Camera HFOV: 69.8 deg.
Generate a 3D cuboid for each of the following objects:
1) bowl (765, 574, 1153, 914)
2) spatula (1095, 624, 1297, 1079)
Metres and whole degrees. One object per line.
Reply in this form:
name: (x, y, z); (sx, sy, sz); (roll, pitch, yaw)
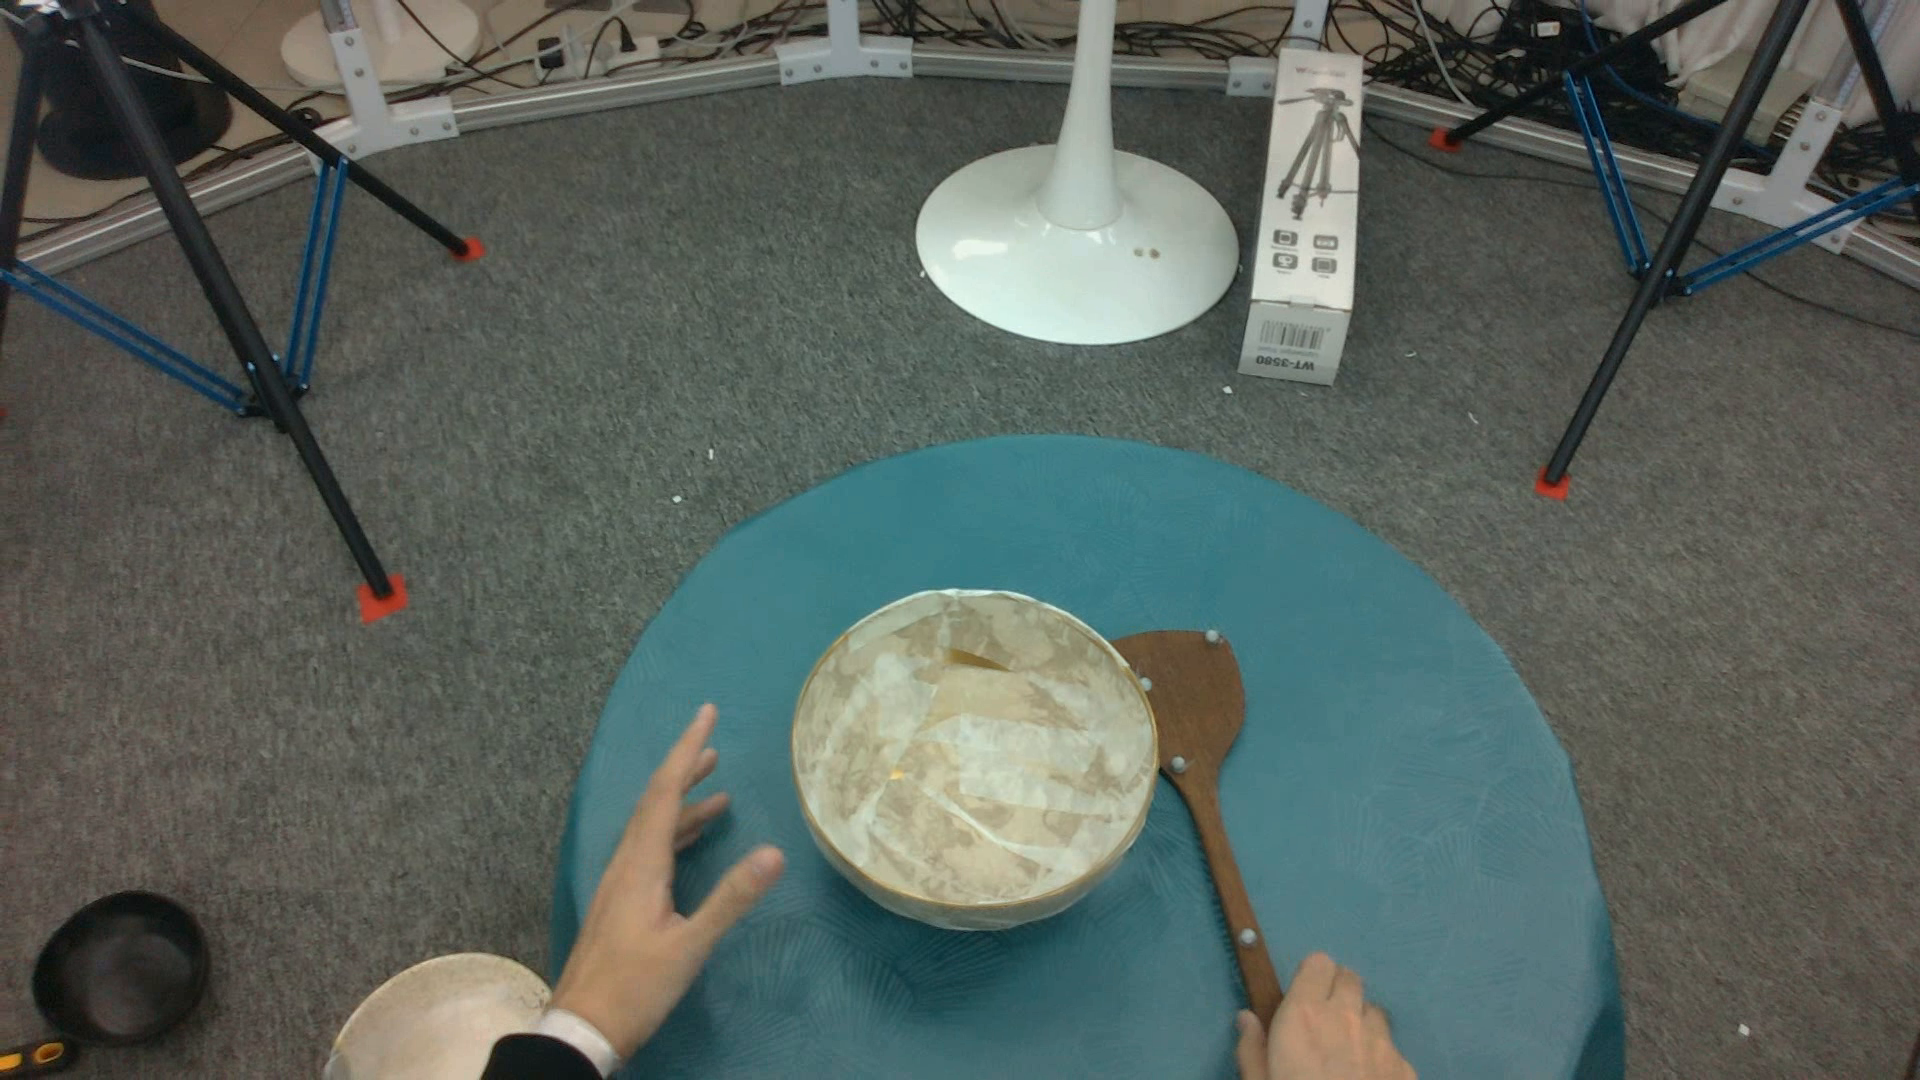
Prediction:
bowl: (-0.004, 0.127, 0.771); (0.215, 0.094, 0.215); (3, 49, -3)
spatula: (0.146, 0.200, 0.767); (0.096, 0.016, 0.387); (-5, 48, -7)
